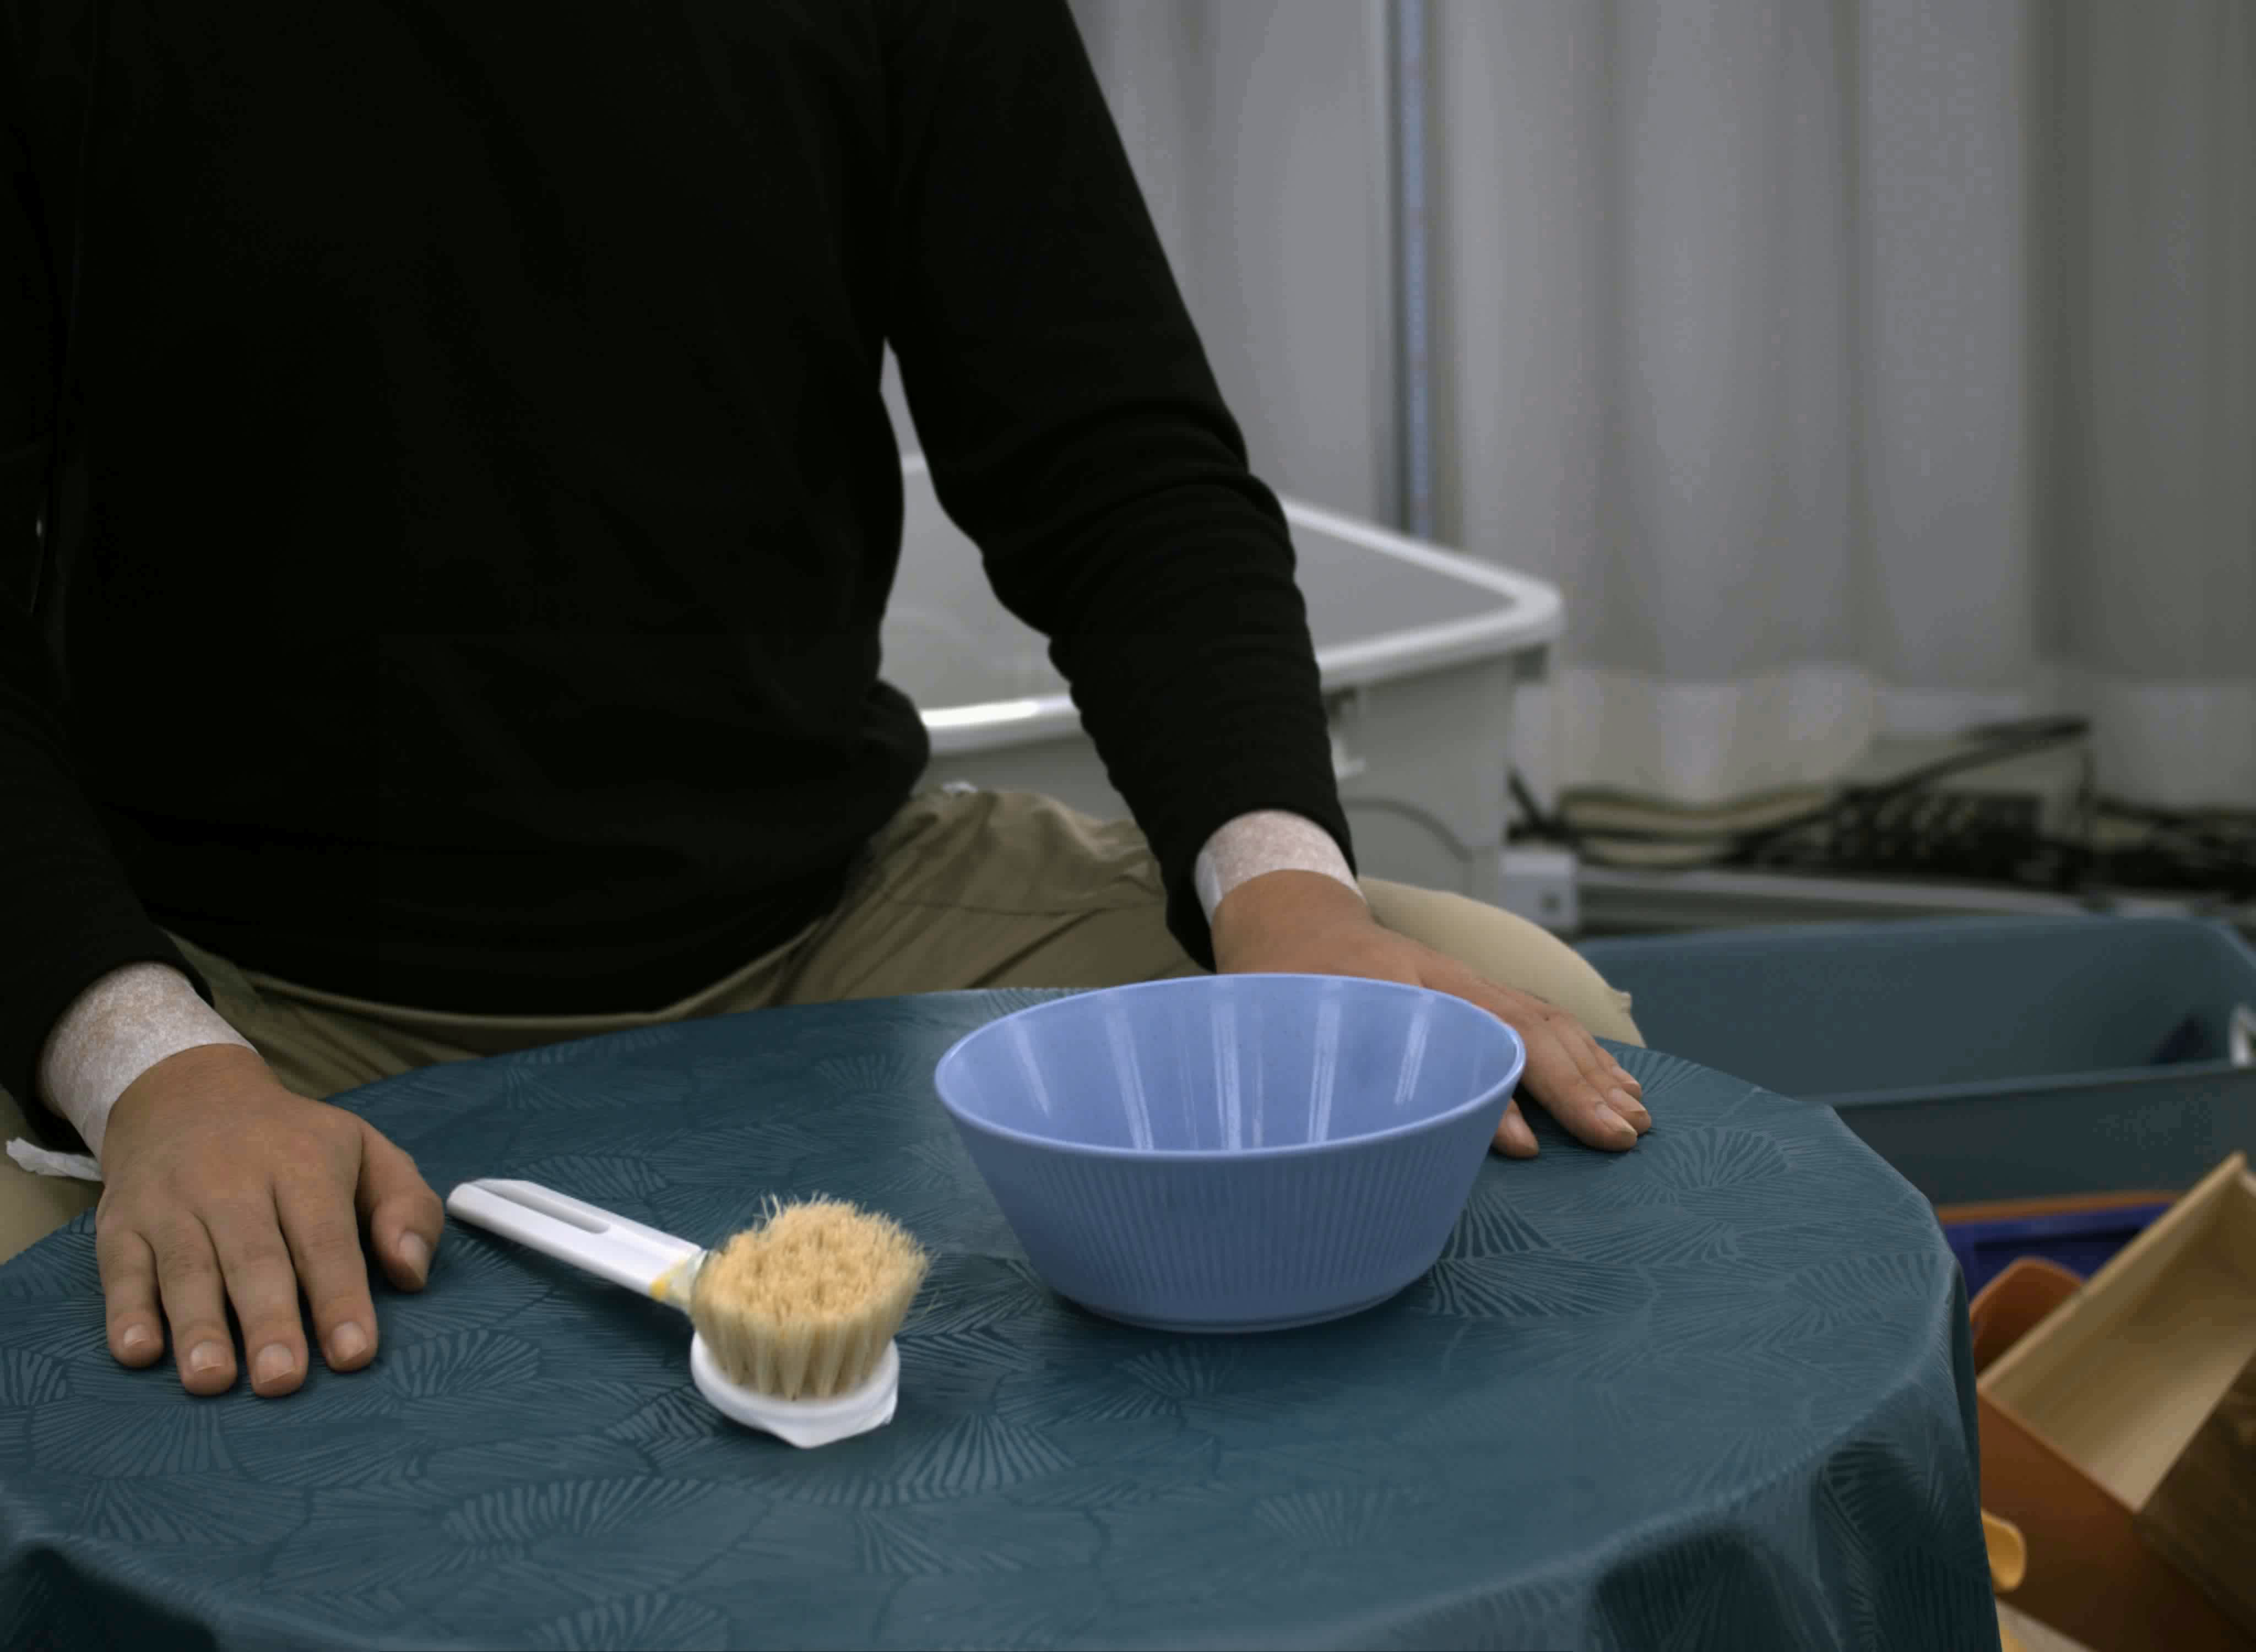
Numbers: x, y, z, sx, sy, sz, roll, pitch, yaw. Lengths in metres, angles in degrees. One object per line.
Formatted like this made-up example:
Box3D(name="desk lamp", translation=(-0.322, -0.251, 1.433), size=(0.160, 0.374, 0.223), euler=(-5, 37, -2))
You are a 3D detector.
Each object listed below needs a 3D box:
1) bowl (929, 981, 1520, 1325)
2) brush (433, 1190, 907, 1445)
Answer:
Box3D(name="bowl", translation=(0.029, 0.099, 1.626), size=(0.175, 0.070, 0.177), euler=(-2, 13, 0))
Box3D(name="brush", translation=(-0.147, 0.121, 1.617), size=(0.068, 0.056, 0.268), euler=(-5, 13, -29))
